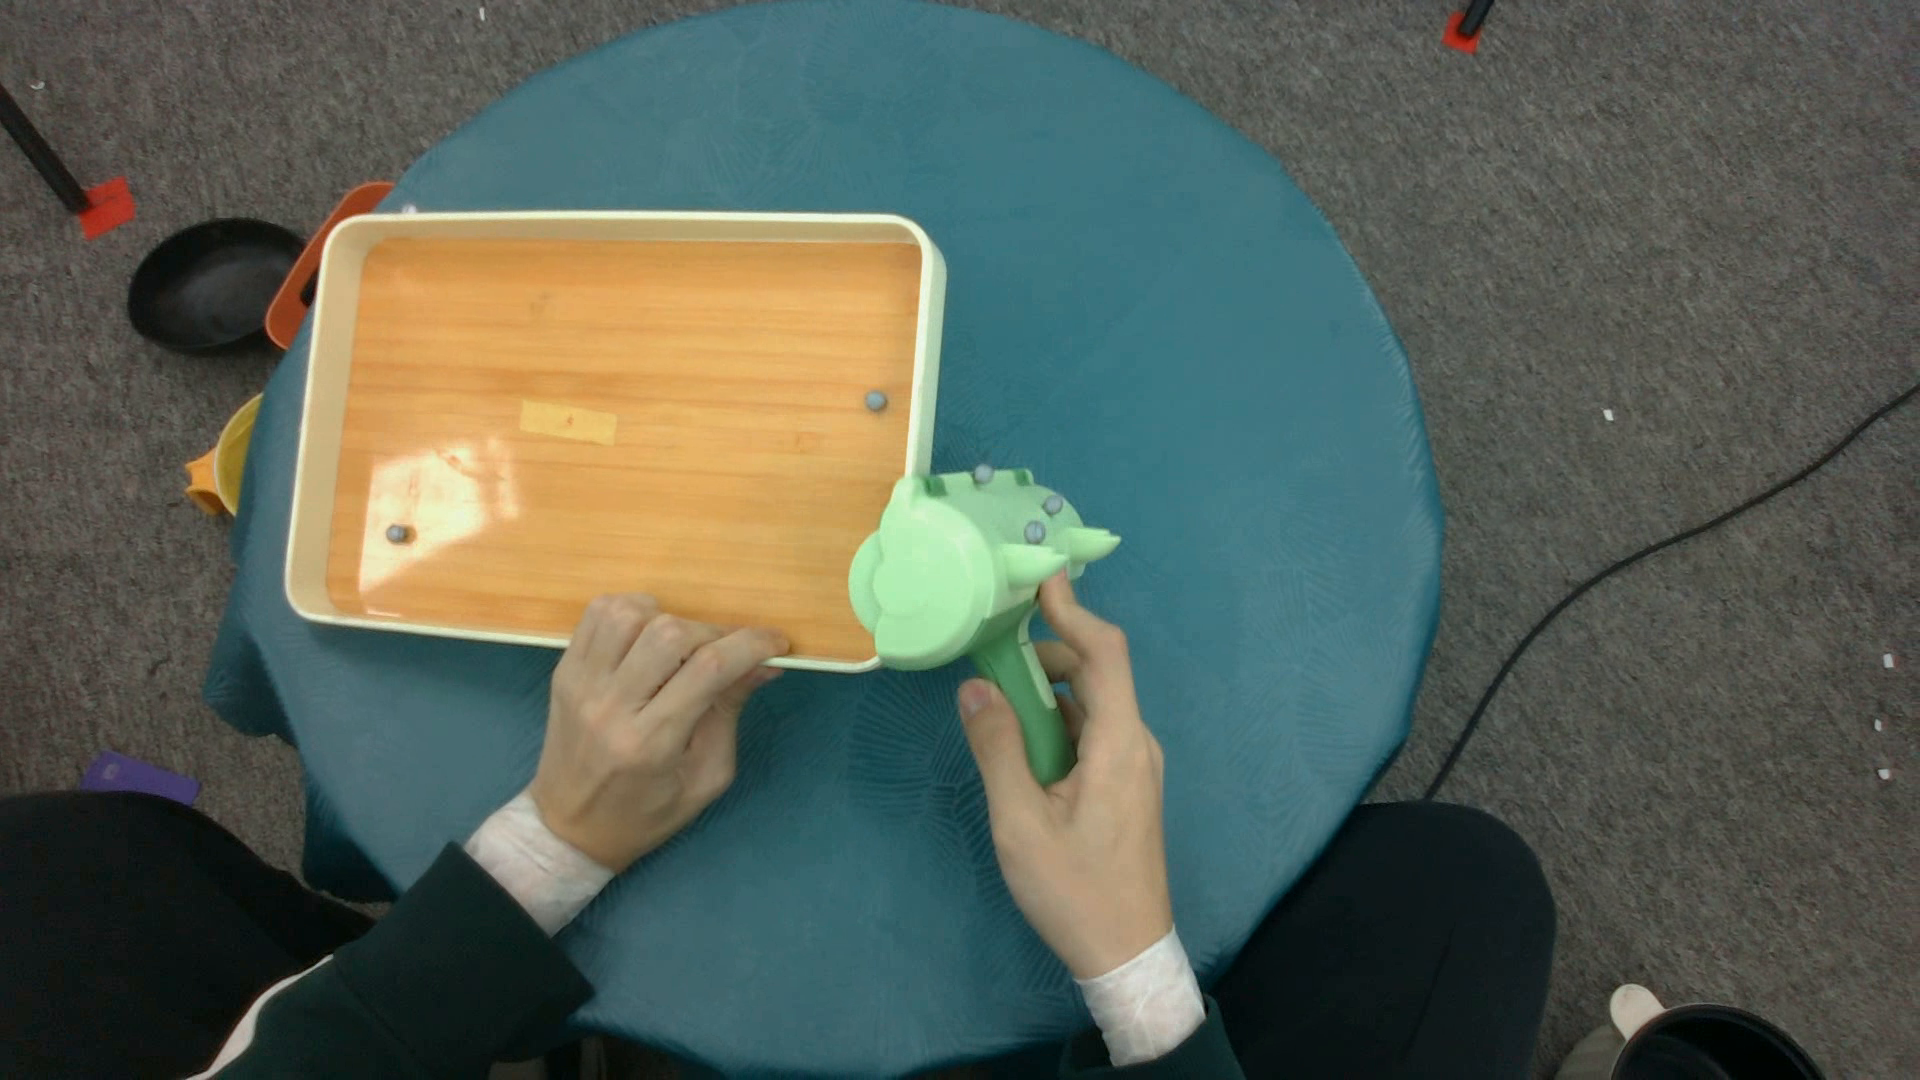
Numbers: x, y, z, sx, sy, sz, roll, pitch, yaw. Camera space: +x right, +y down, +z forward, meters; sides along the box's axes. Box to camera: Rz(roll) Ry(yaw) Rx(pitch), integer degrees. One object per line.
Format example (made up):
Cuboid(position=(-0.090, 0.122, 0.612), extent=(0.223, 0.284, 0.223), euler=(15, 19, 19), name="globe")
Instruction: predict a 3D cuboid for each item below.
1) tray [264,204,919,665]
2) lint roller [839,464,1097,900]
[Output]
Cuboid(position=(-0.168, -0.049, 0.607), extent=(0.300, 0.027, 0.191), euler=(3, 87, 15), name="tray")
Cuboid(position=(0.032, 0.053, 0.570), extent=(0.082, 0.199, 0.183), euler=(-26, 87, 13), name="lint roller")
